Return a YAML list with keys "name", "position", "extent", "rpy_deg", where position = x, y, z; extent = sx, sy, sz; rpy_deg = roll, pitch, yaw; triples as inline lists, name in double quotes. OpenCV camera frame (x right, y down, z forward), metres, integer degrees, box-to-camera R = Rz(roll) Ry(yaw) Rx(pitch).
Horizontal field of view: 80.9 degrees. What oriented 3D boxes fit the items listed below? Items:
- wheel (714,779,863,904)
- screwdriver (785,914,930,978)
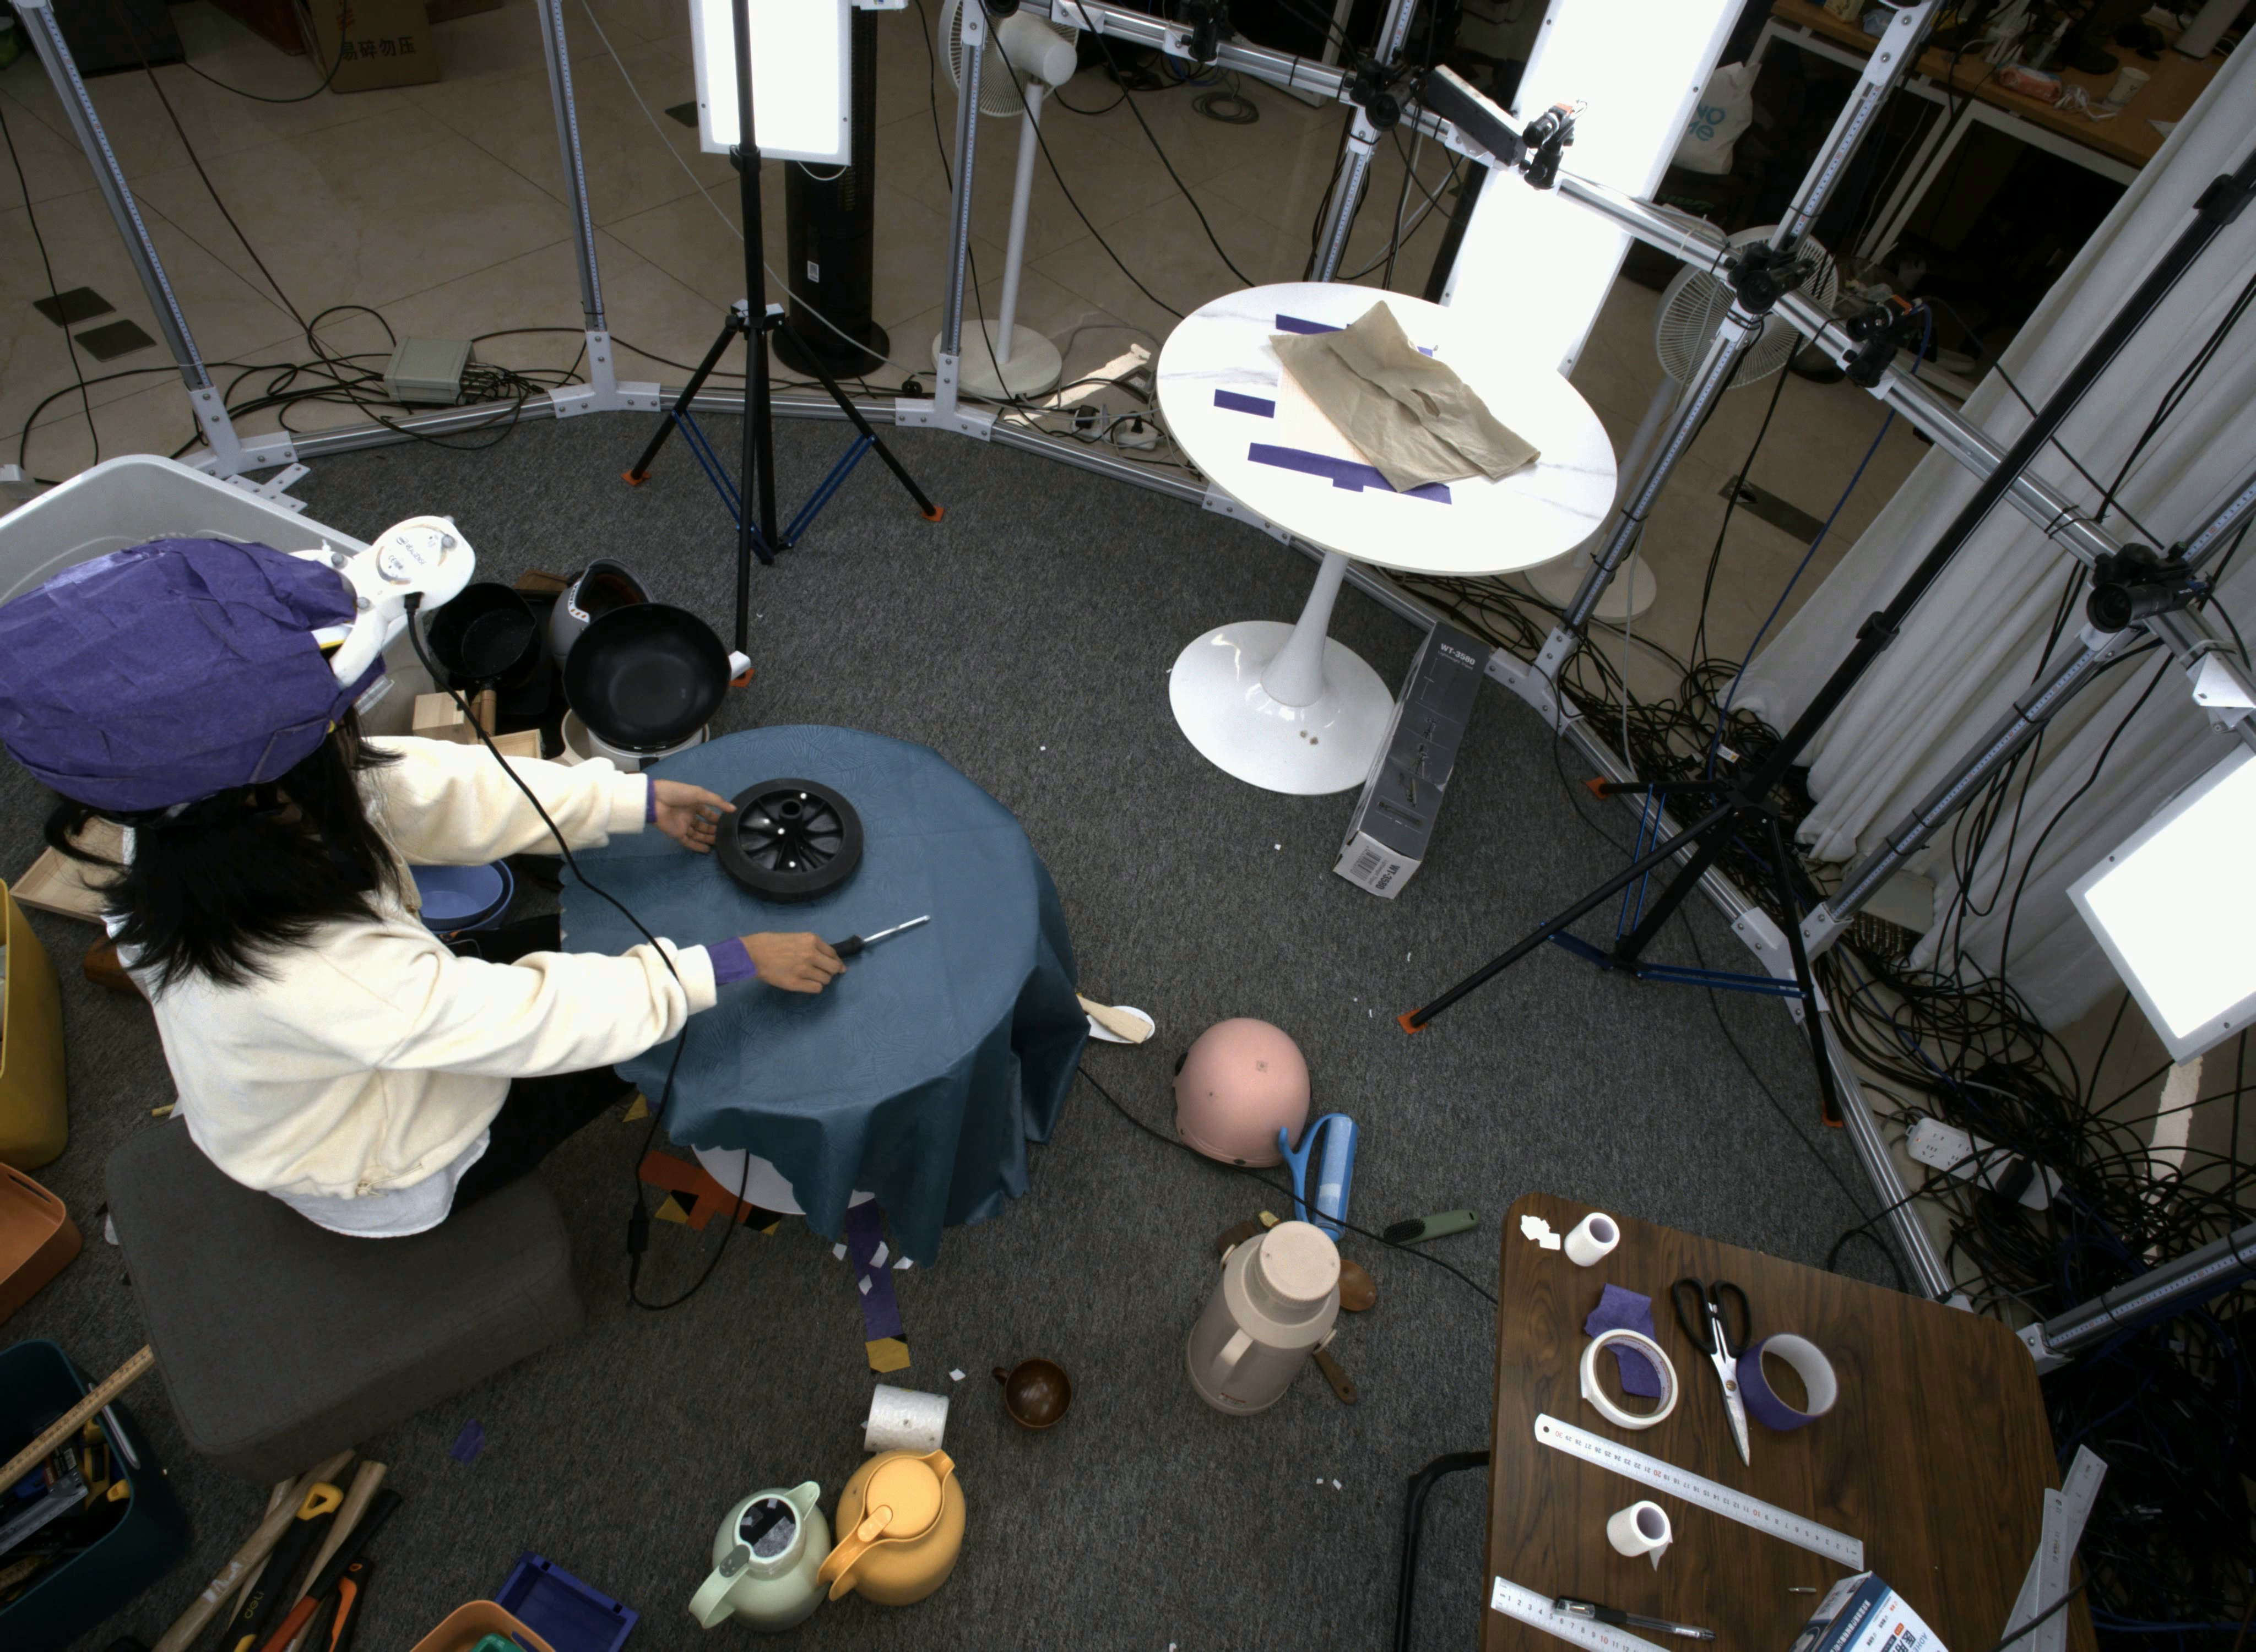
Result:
- name: "wheel"
  position: [-0.435, 0.004, 1.665]
  extent: [0.188, 0.080, 0.186]
  rpy_deg: [24, 51, -1]
- name: "screwdriver"
  position: [-0.336, 0.140, 1.622]
  extent: [0.197, 0.032, 0.030]
  rpy_deg: [-24, 61, -31]
